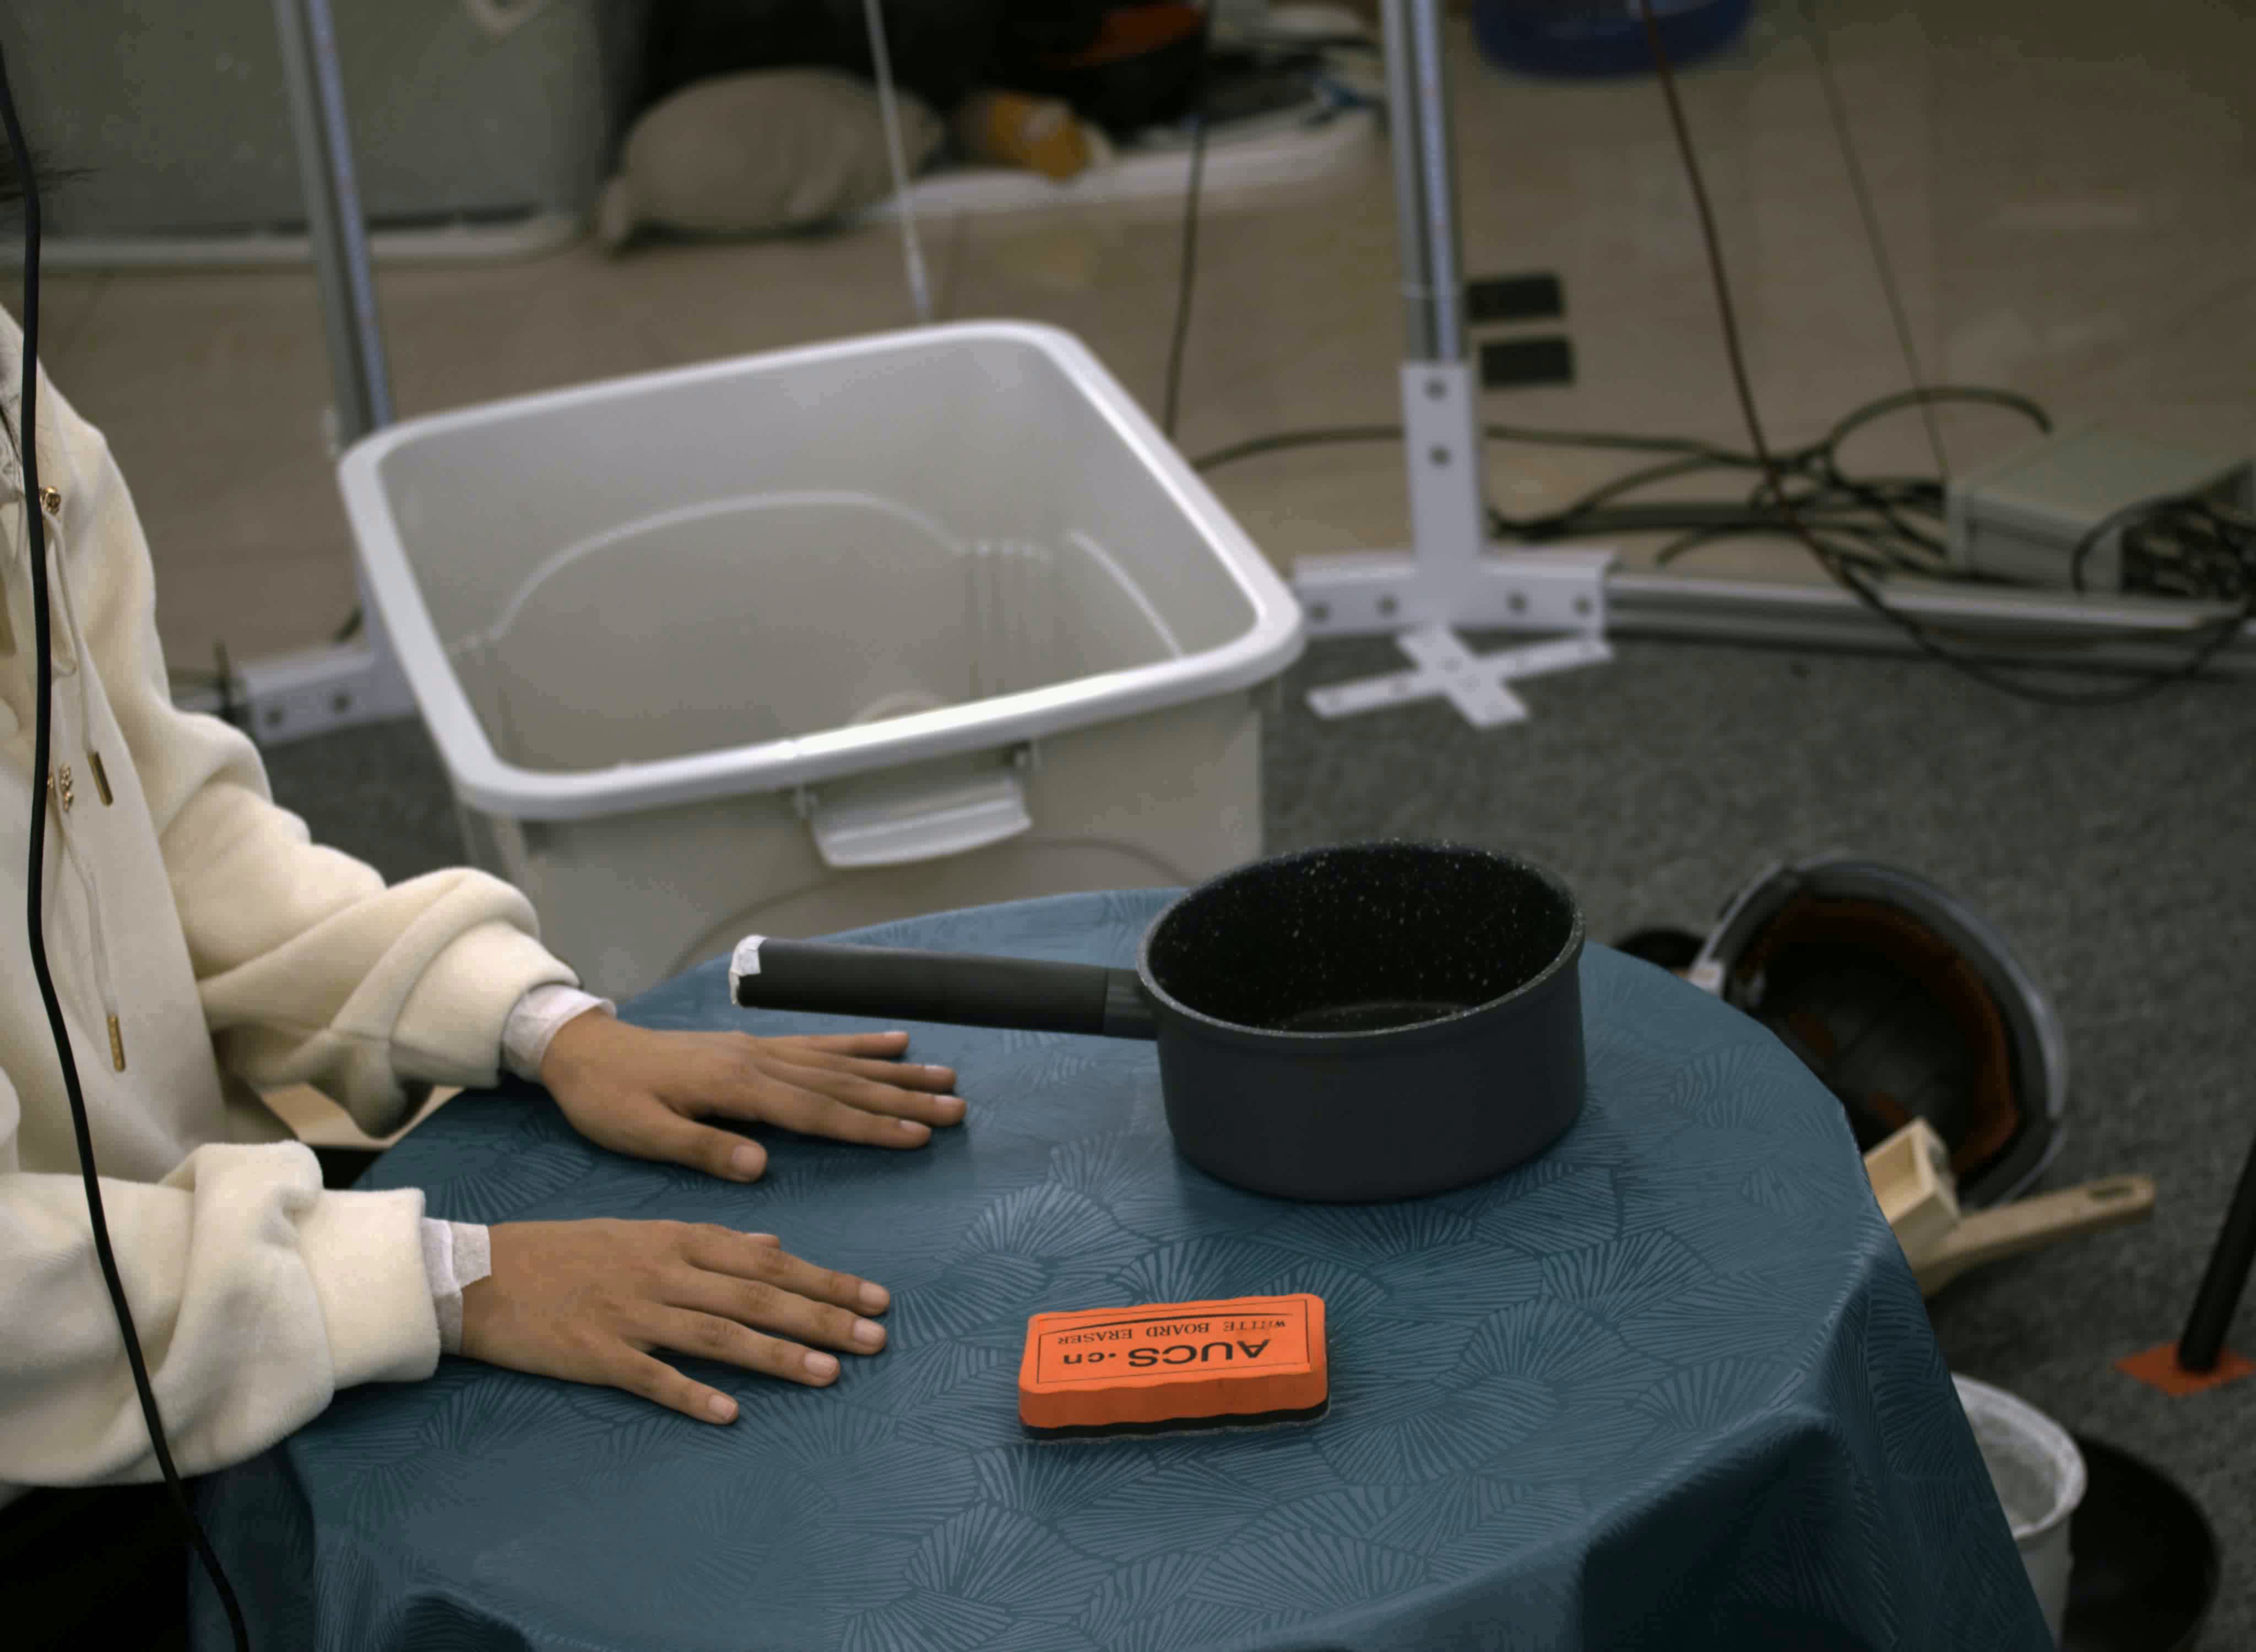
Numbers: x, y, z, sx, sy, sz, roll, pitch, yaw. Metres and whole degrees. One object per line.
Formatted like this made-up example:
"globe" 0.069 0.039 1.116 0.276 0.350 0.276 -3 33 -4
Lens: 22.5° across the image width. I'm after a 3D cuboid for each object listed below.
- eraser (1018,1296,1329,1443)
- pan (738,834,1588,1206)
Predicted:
"eraser" 0.016 0.191 2.003 0.108 0.023 0.058 -4 25 5
"pan" 0.014 0.075 2.181 0.328 0.088 0.169 -1 25 8
